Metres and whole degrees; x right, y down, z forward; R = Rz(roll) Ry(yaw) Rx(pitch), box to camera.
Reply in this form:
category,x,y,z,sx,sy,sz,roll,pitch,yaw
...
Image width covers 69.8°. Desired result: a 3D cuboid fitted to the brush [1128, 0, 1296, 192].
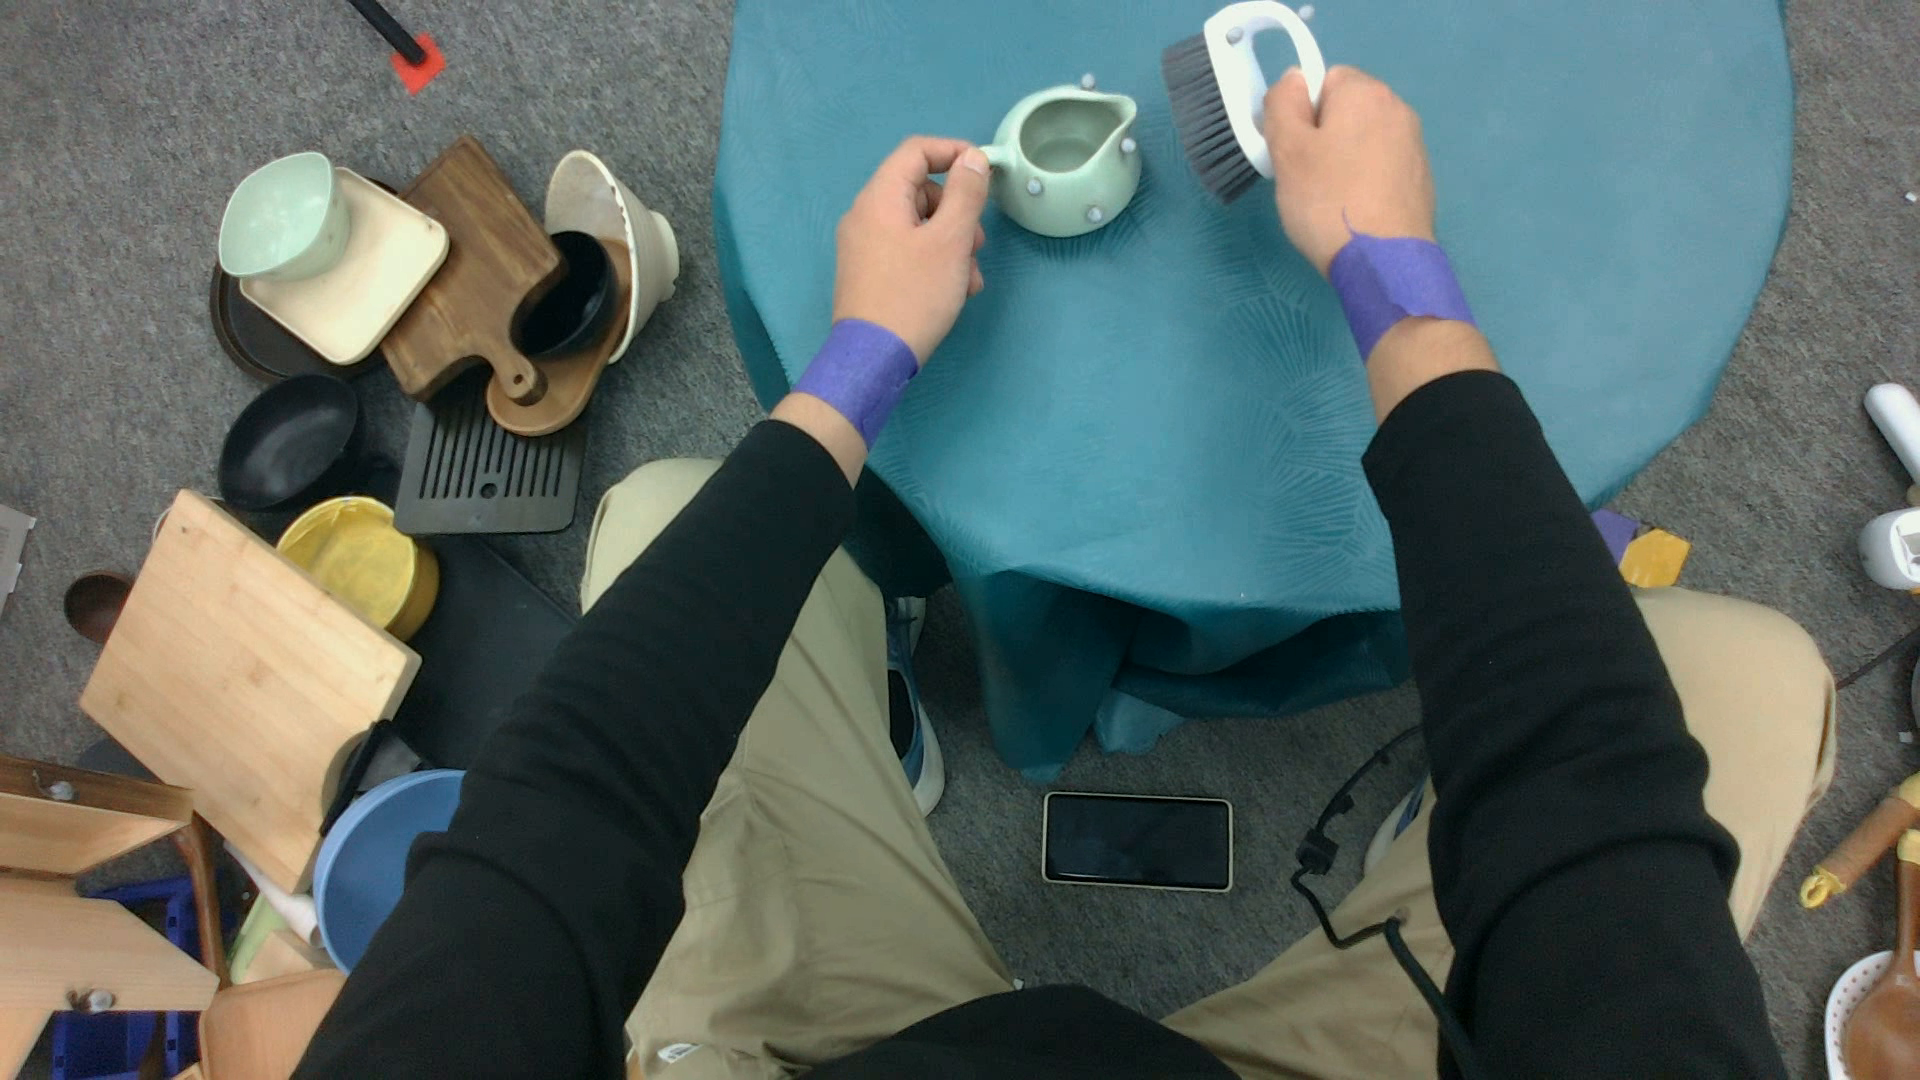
category,x,y,z,sx,sy,sz,roll,pitch,yaw
brush,0.135,-0.239,0.712,0.072,0.050,0.099,-28,59,31

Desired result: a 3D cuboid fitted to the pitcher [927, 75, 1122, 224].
category,x,y,z,sx,sy,sz,roll,pitch,yaw
pitcher,0.035,-0.214,0.757,0.108,0.060,0.086,-19,74,4
